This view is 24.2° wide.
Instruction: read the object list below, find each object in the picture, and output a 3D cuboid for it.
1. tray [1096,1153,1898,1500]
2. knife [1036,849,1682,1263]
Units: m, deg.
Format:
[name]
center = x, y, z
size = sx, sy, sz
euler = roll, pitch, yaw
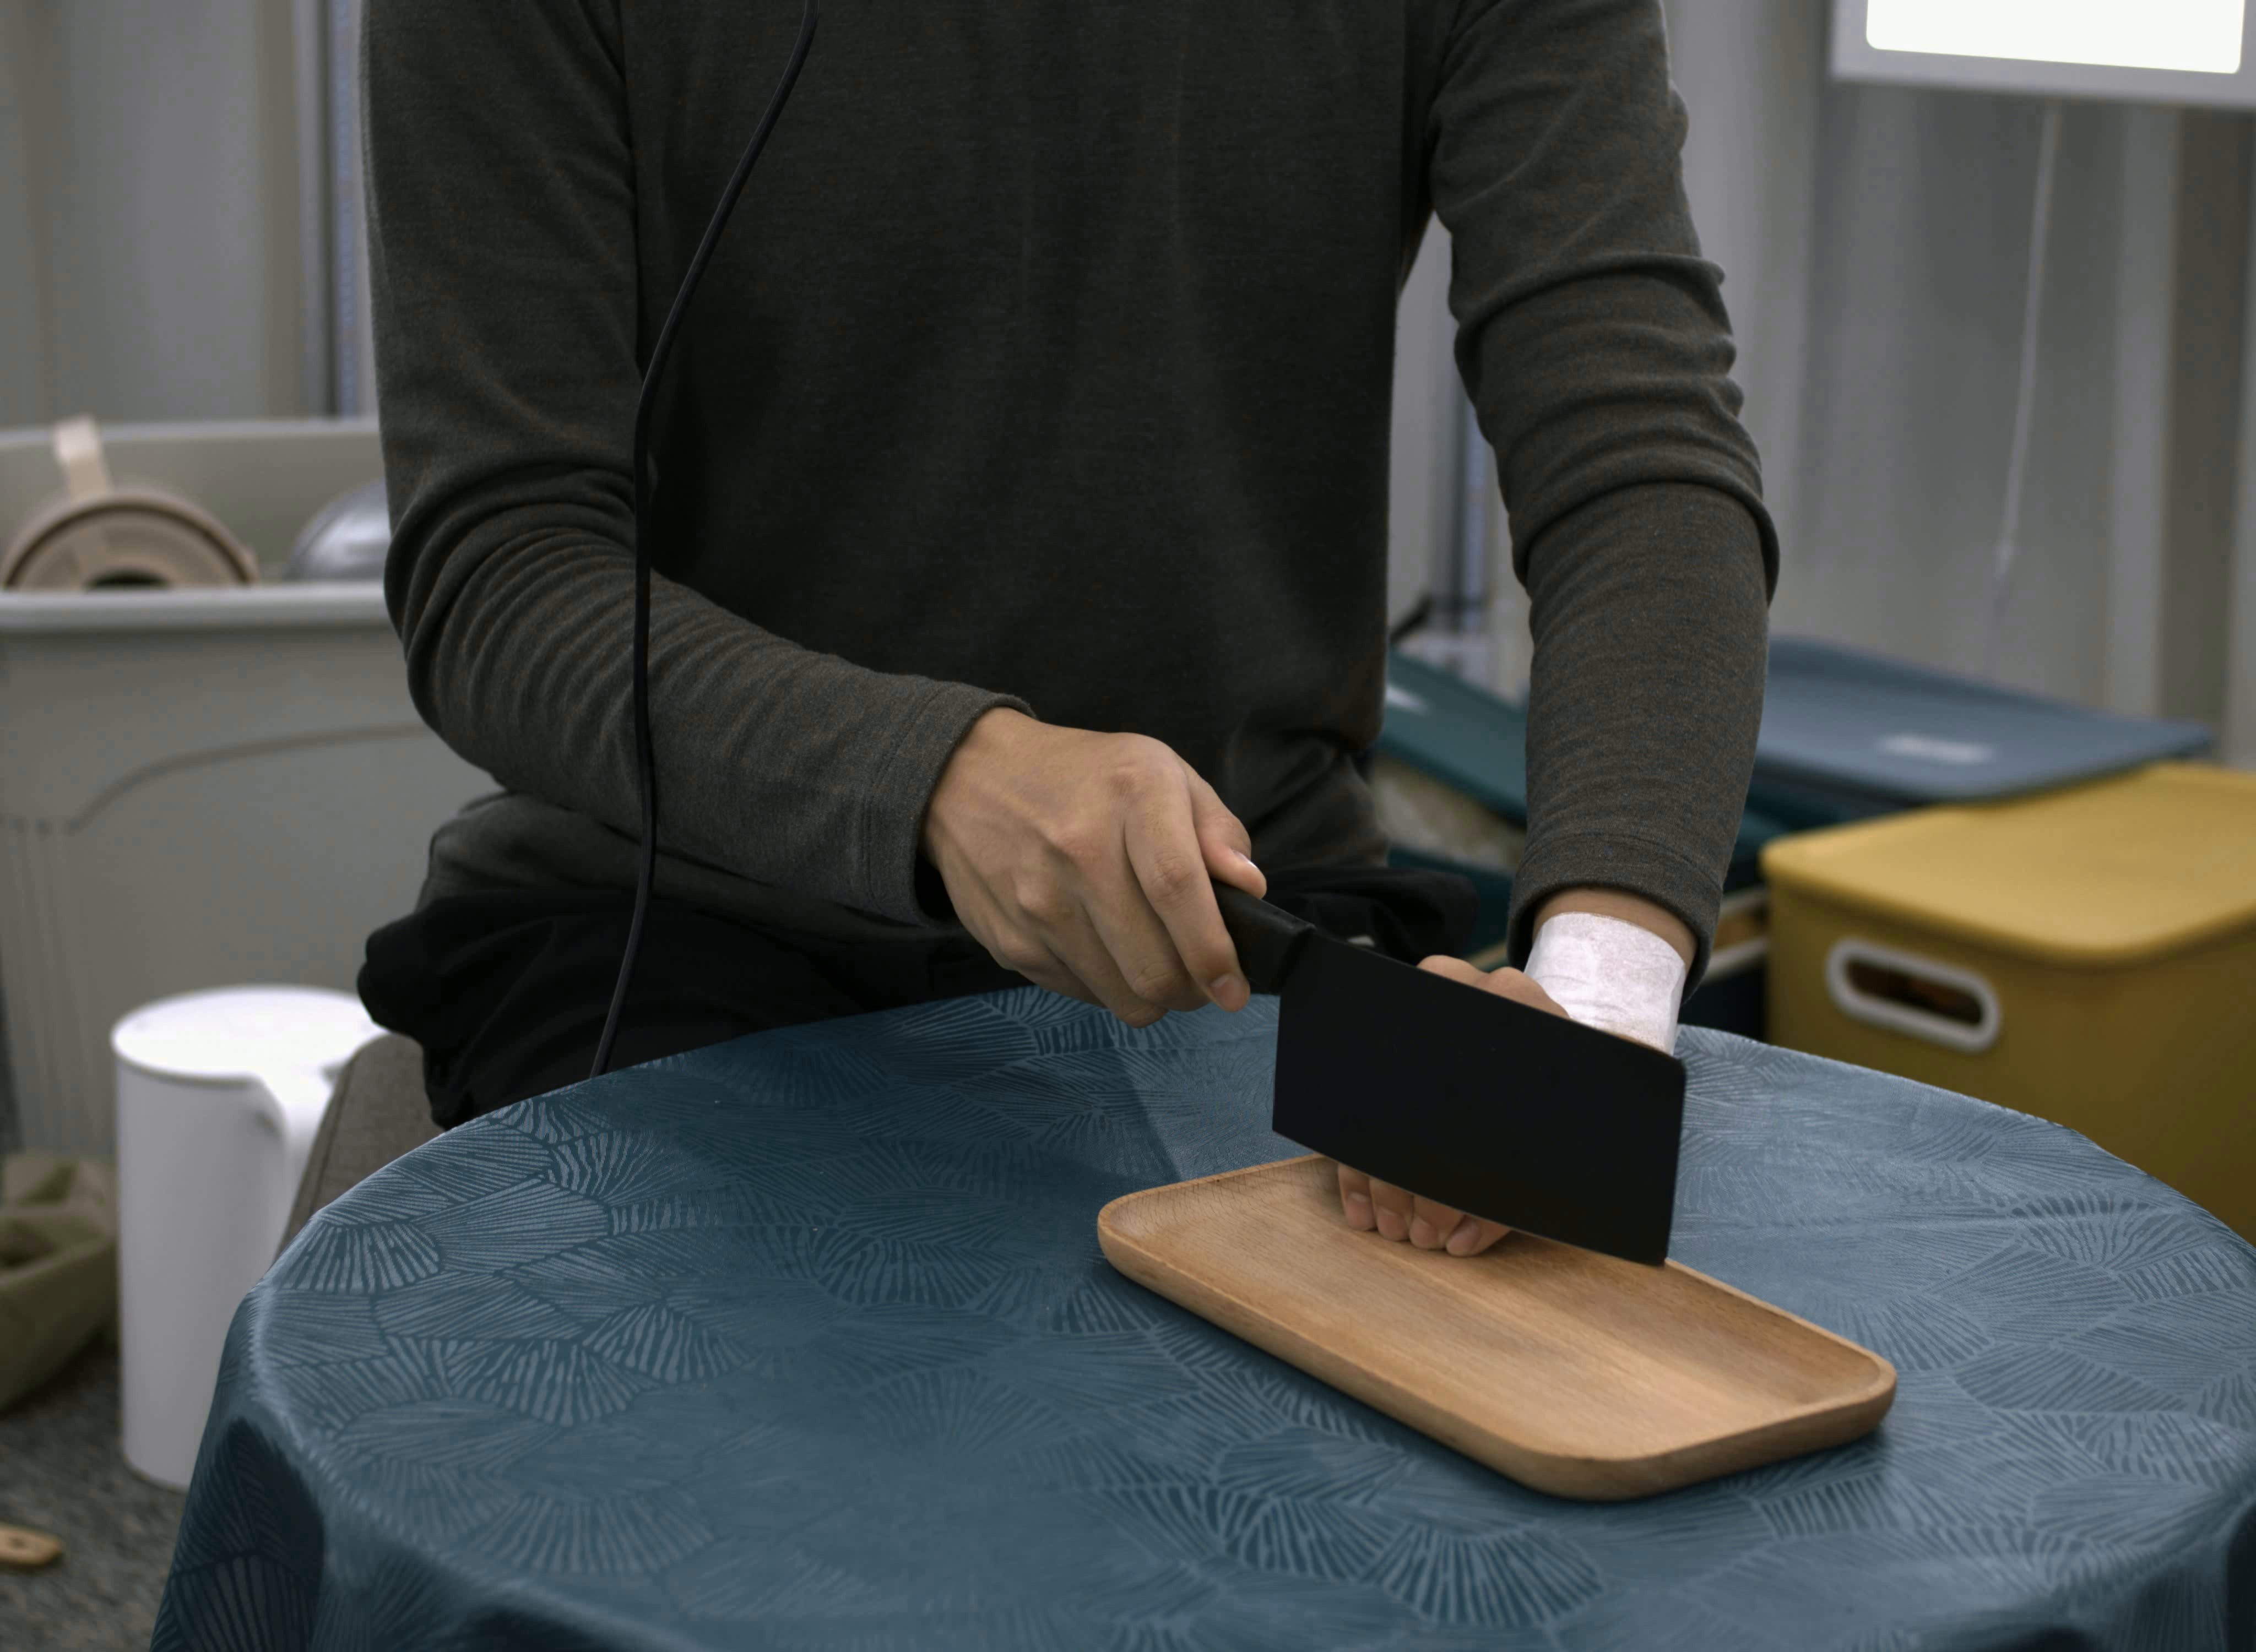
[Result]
[tray]
center = 0.100, 0.139, 1.504
size = 0.131, 0.023, 0.247
euler = -6, 16, -32
[knife]
center = 0.063, 0.061, 1.557
size = 0.021, 0.081, 0.298
euler = -3, 18, -36
